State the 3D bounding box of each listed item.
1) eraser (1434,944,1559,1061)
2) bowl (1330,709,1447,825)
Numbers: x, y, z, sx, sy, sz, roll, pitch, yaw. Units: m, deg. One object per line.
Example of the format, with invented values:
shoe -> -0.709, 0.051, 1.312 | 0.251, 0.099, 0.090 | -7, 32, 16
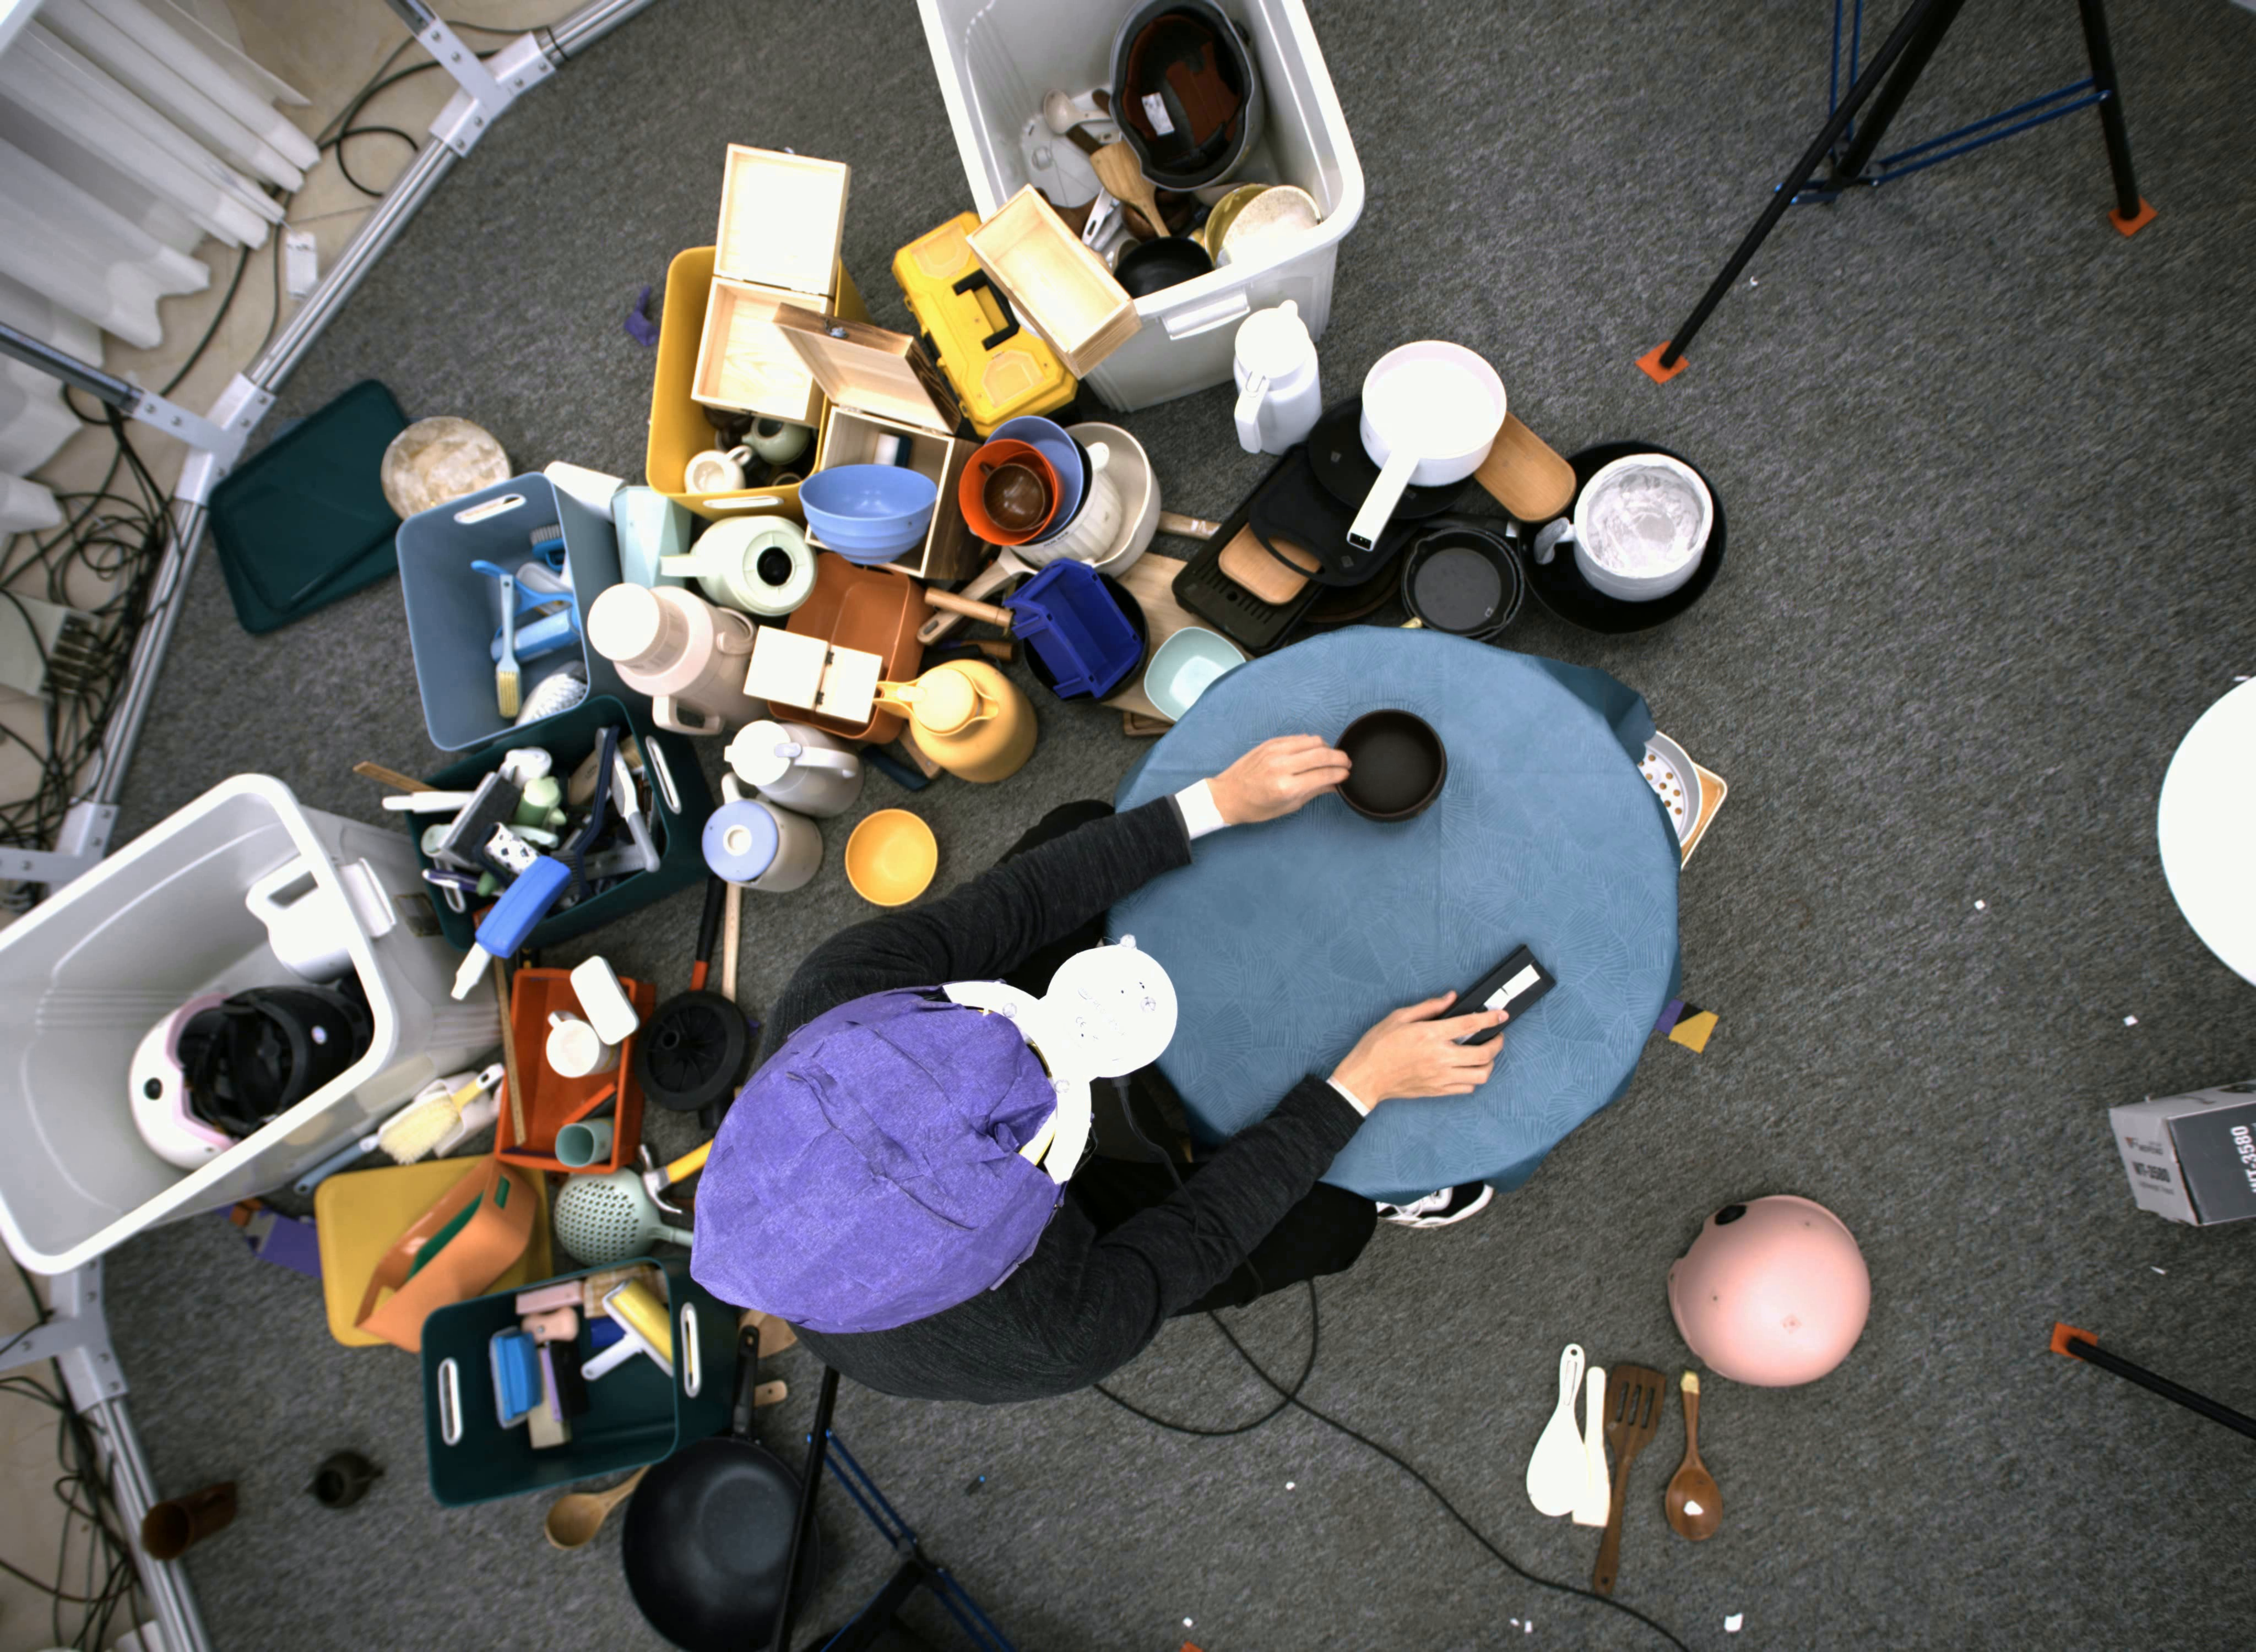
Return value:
eraser -> 0.378, 0.179, 1.418 | 0.126, 0.030, 0.053 | -42, 81, 5
bowl -> 0.271, -0.059, 1.427 | 0.118, 0.070, 0.117 | -3, 80, 16
